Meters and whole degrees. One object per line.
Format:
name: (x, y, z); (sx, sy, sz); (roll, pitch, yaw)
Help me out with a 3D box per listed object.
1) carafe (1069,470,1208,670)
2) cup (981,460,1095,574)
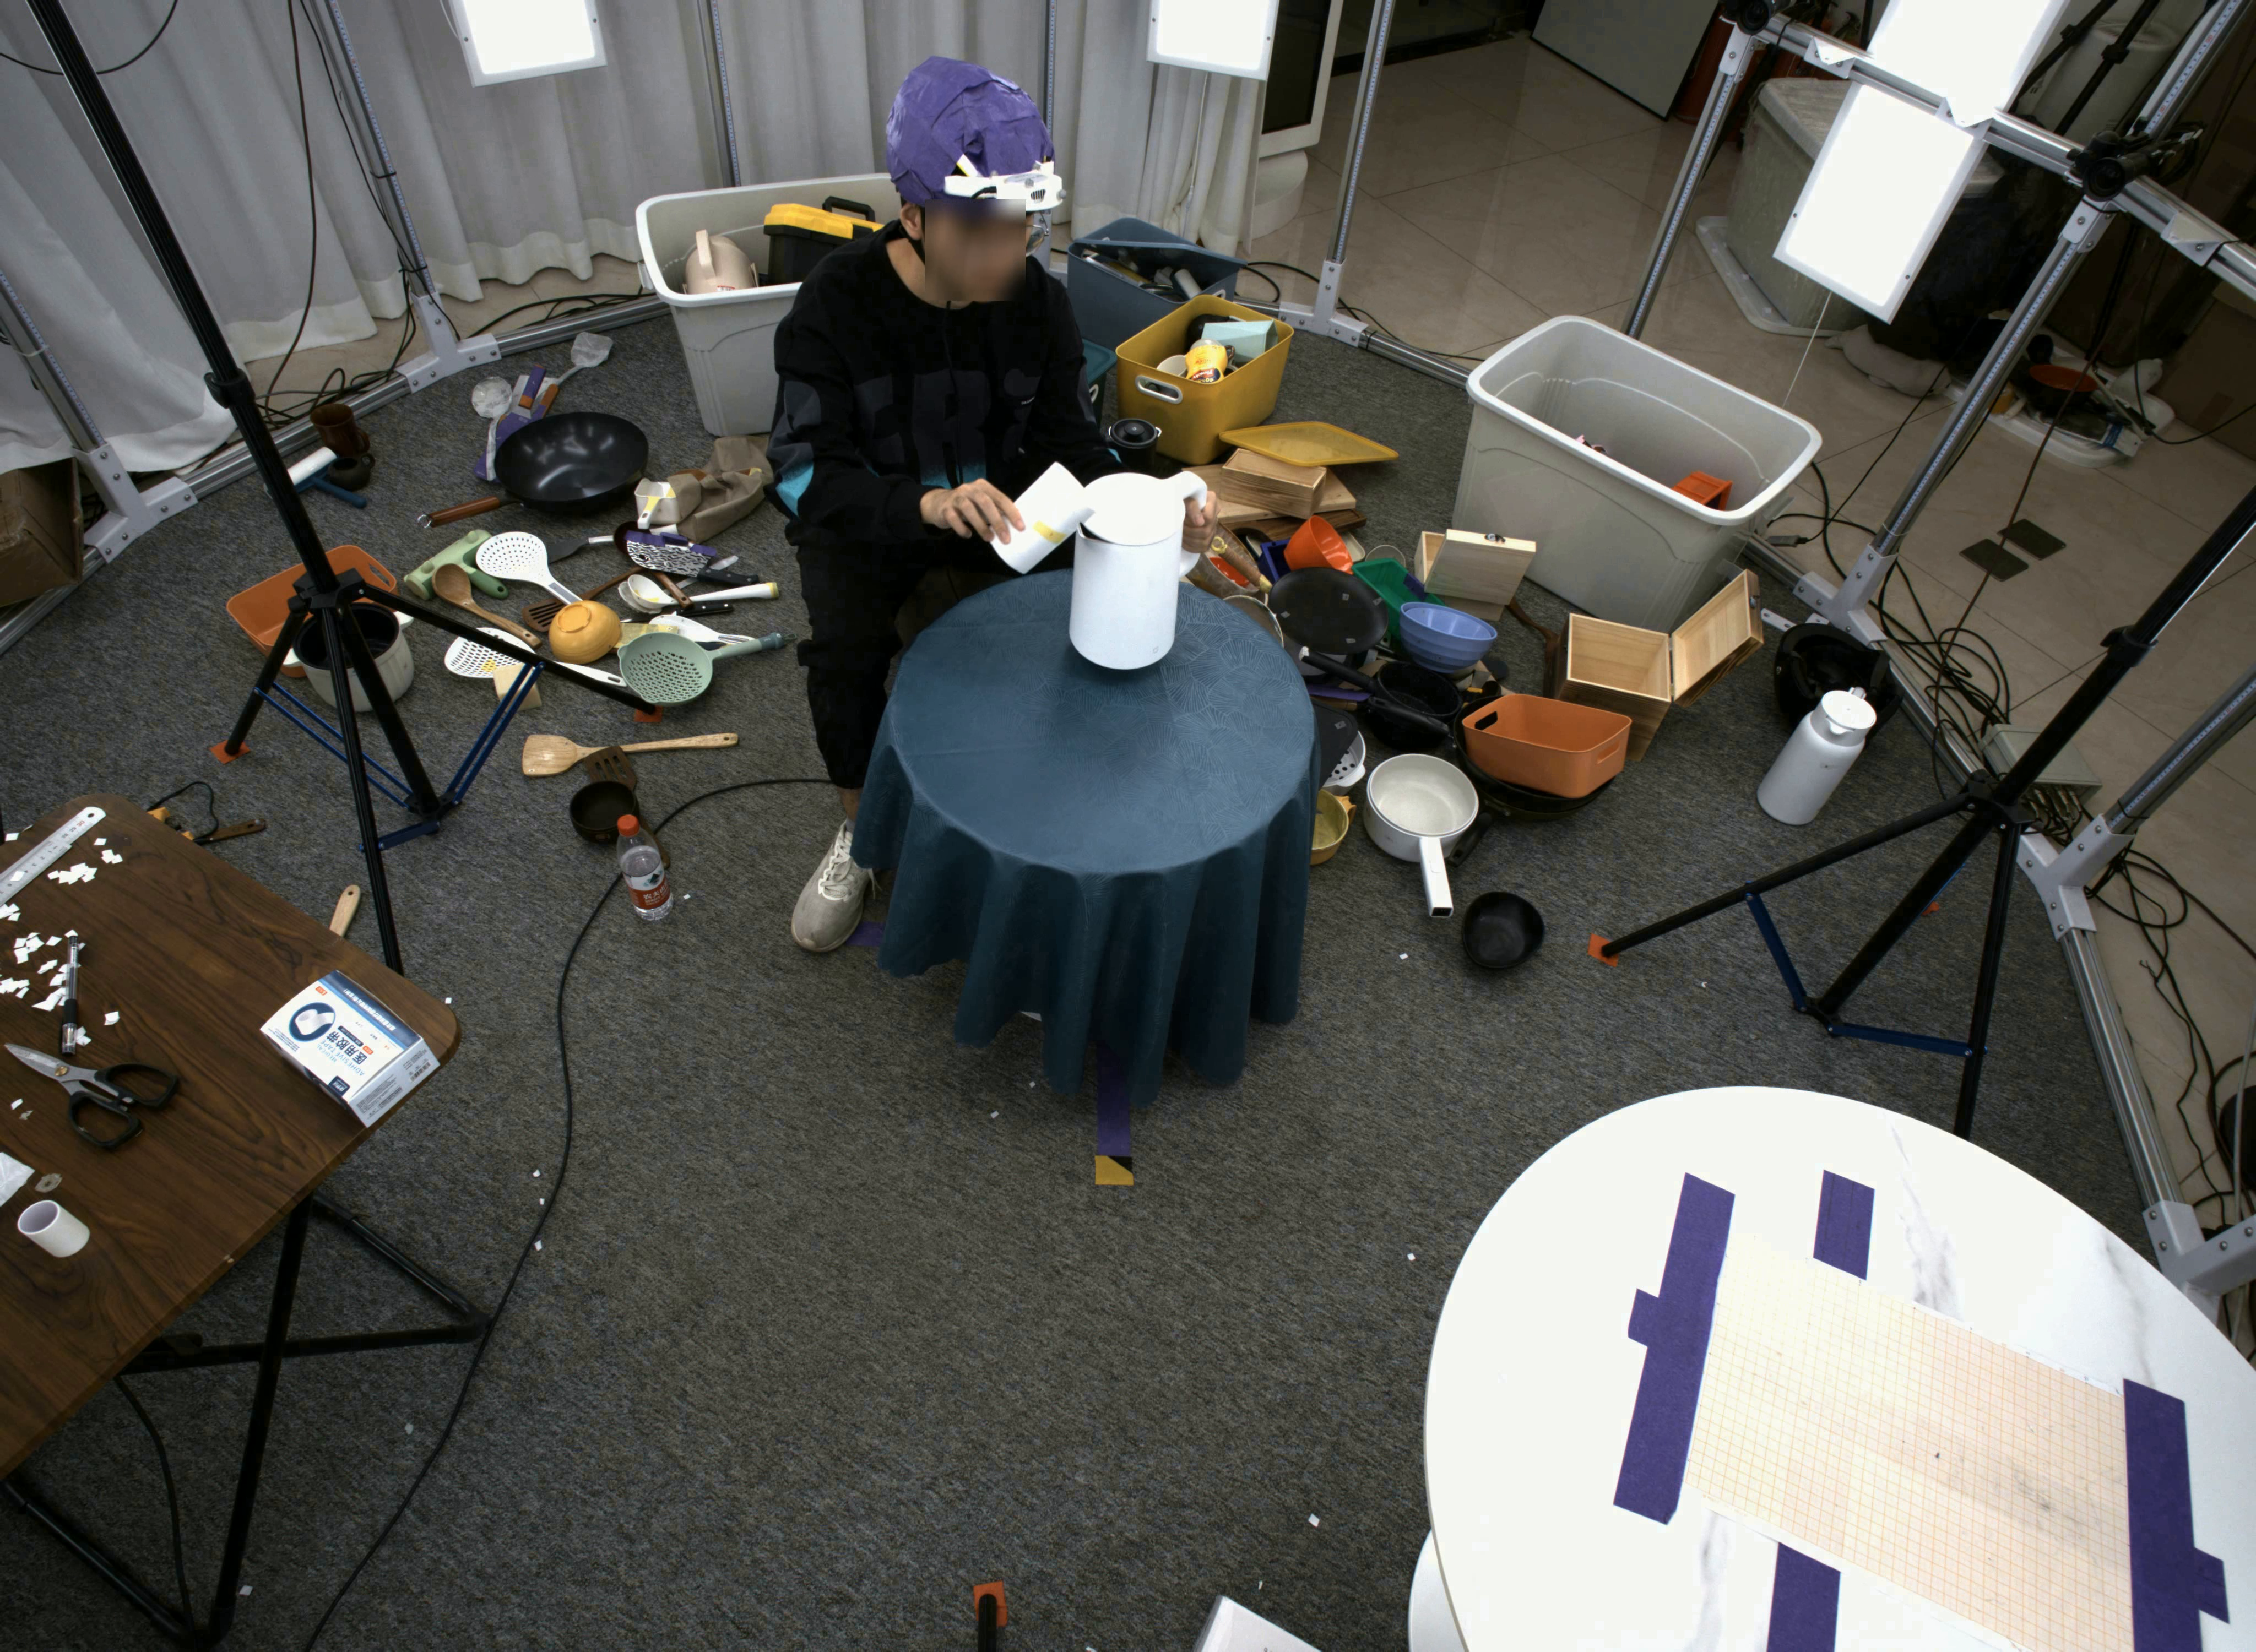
carafe: (0.018, -0.362, 1.785); (0.214, 0.234, 0.154); (-32, 61, -25)
cup: (-0.113, -0.382, 1.608); (0.124, 0.080, 0.083); (-41, 53, 15)
